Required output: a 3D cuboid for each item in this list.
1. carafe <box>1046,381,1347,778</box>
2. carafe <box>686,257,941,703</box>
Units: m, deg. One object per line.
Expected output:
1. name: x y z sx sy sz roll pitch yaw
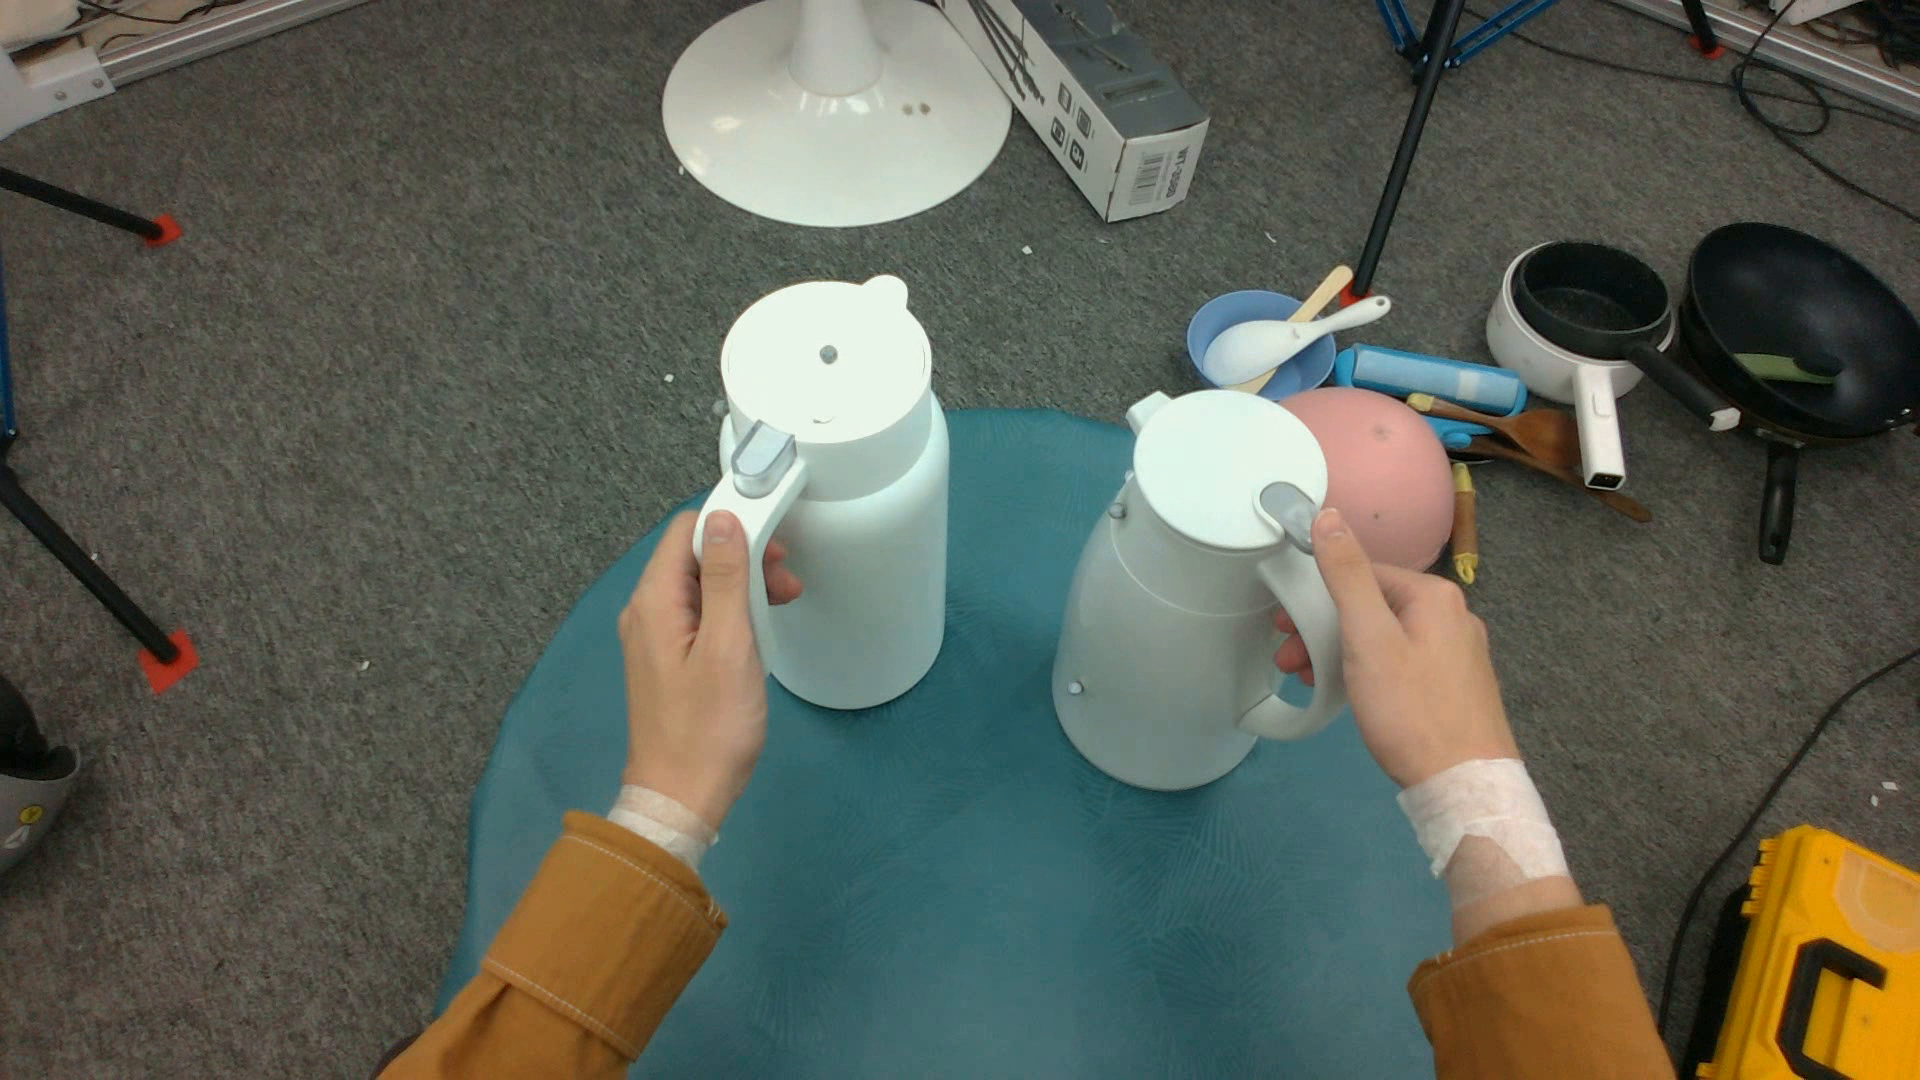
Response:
1. carafe: 0.133 0.034 0.737 0.133 0.247 0.168 -31 65 -19
2. carafe: -0.076 -0.005 0.742 0.124 0.267 0.173 24 60 10
